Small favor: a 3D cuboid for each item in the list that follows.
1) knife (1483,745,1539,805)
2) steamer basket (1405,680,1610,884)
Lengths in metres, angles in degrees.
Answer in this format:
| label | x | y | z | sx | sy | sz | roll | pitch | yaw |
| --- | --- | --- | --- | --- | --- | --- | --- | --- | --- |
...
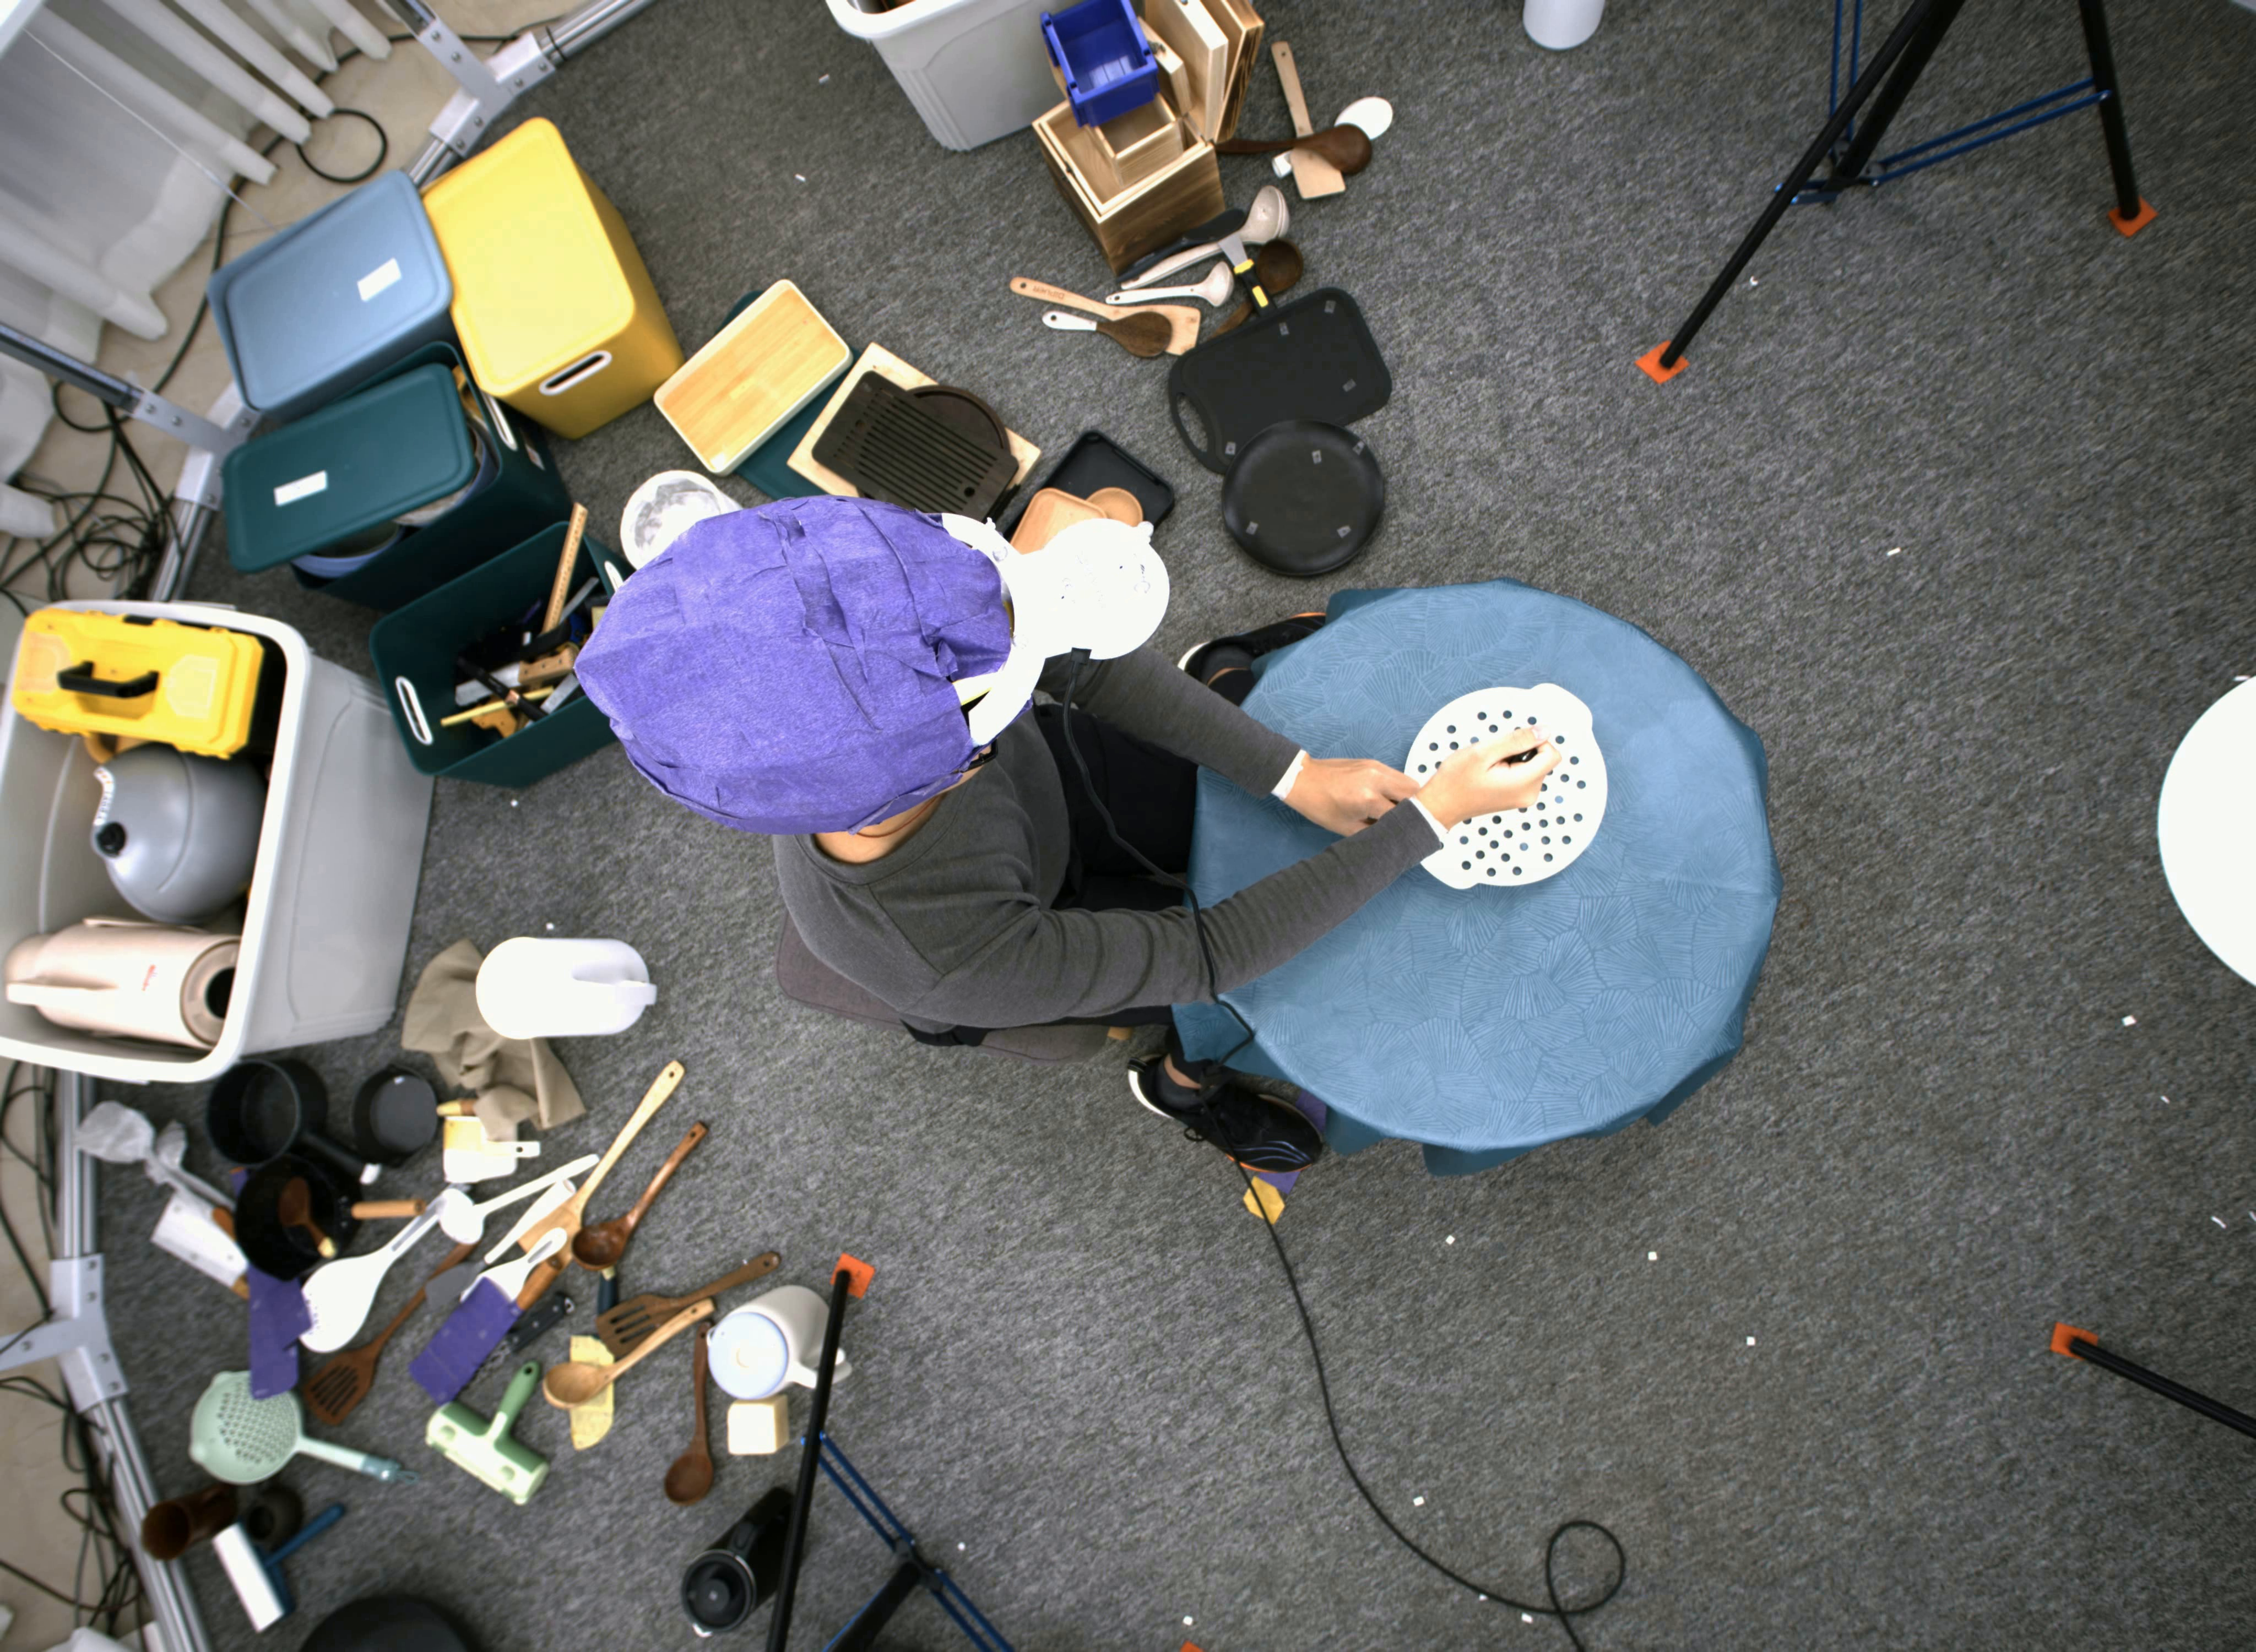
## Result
| label | x | y | z | sx | sy | sz | roll | pitch | yaw |
| --- | --- | --- | --- | --- | --- | --- | --- | --- | --- |
| knife | 0.361 | -0.044 | 1.315 | 0.024 | 0.239 | 0.016 | -41 | 79 | -3 |
| steamer basket | 0.387 | -0.044 | 1.410 | 0.201 | 0.069 | 0.231 | 38 | 95 | 11 |
